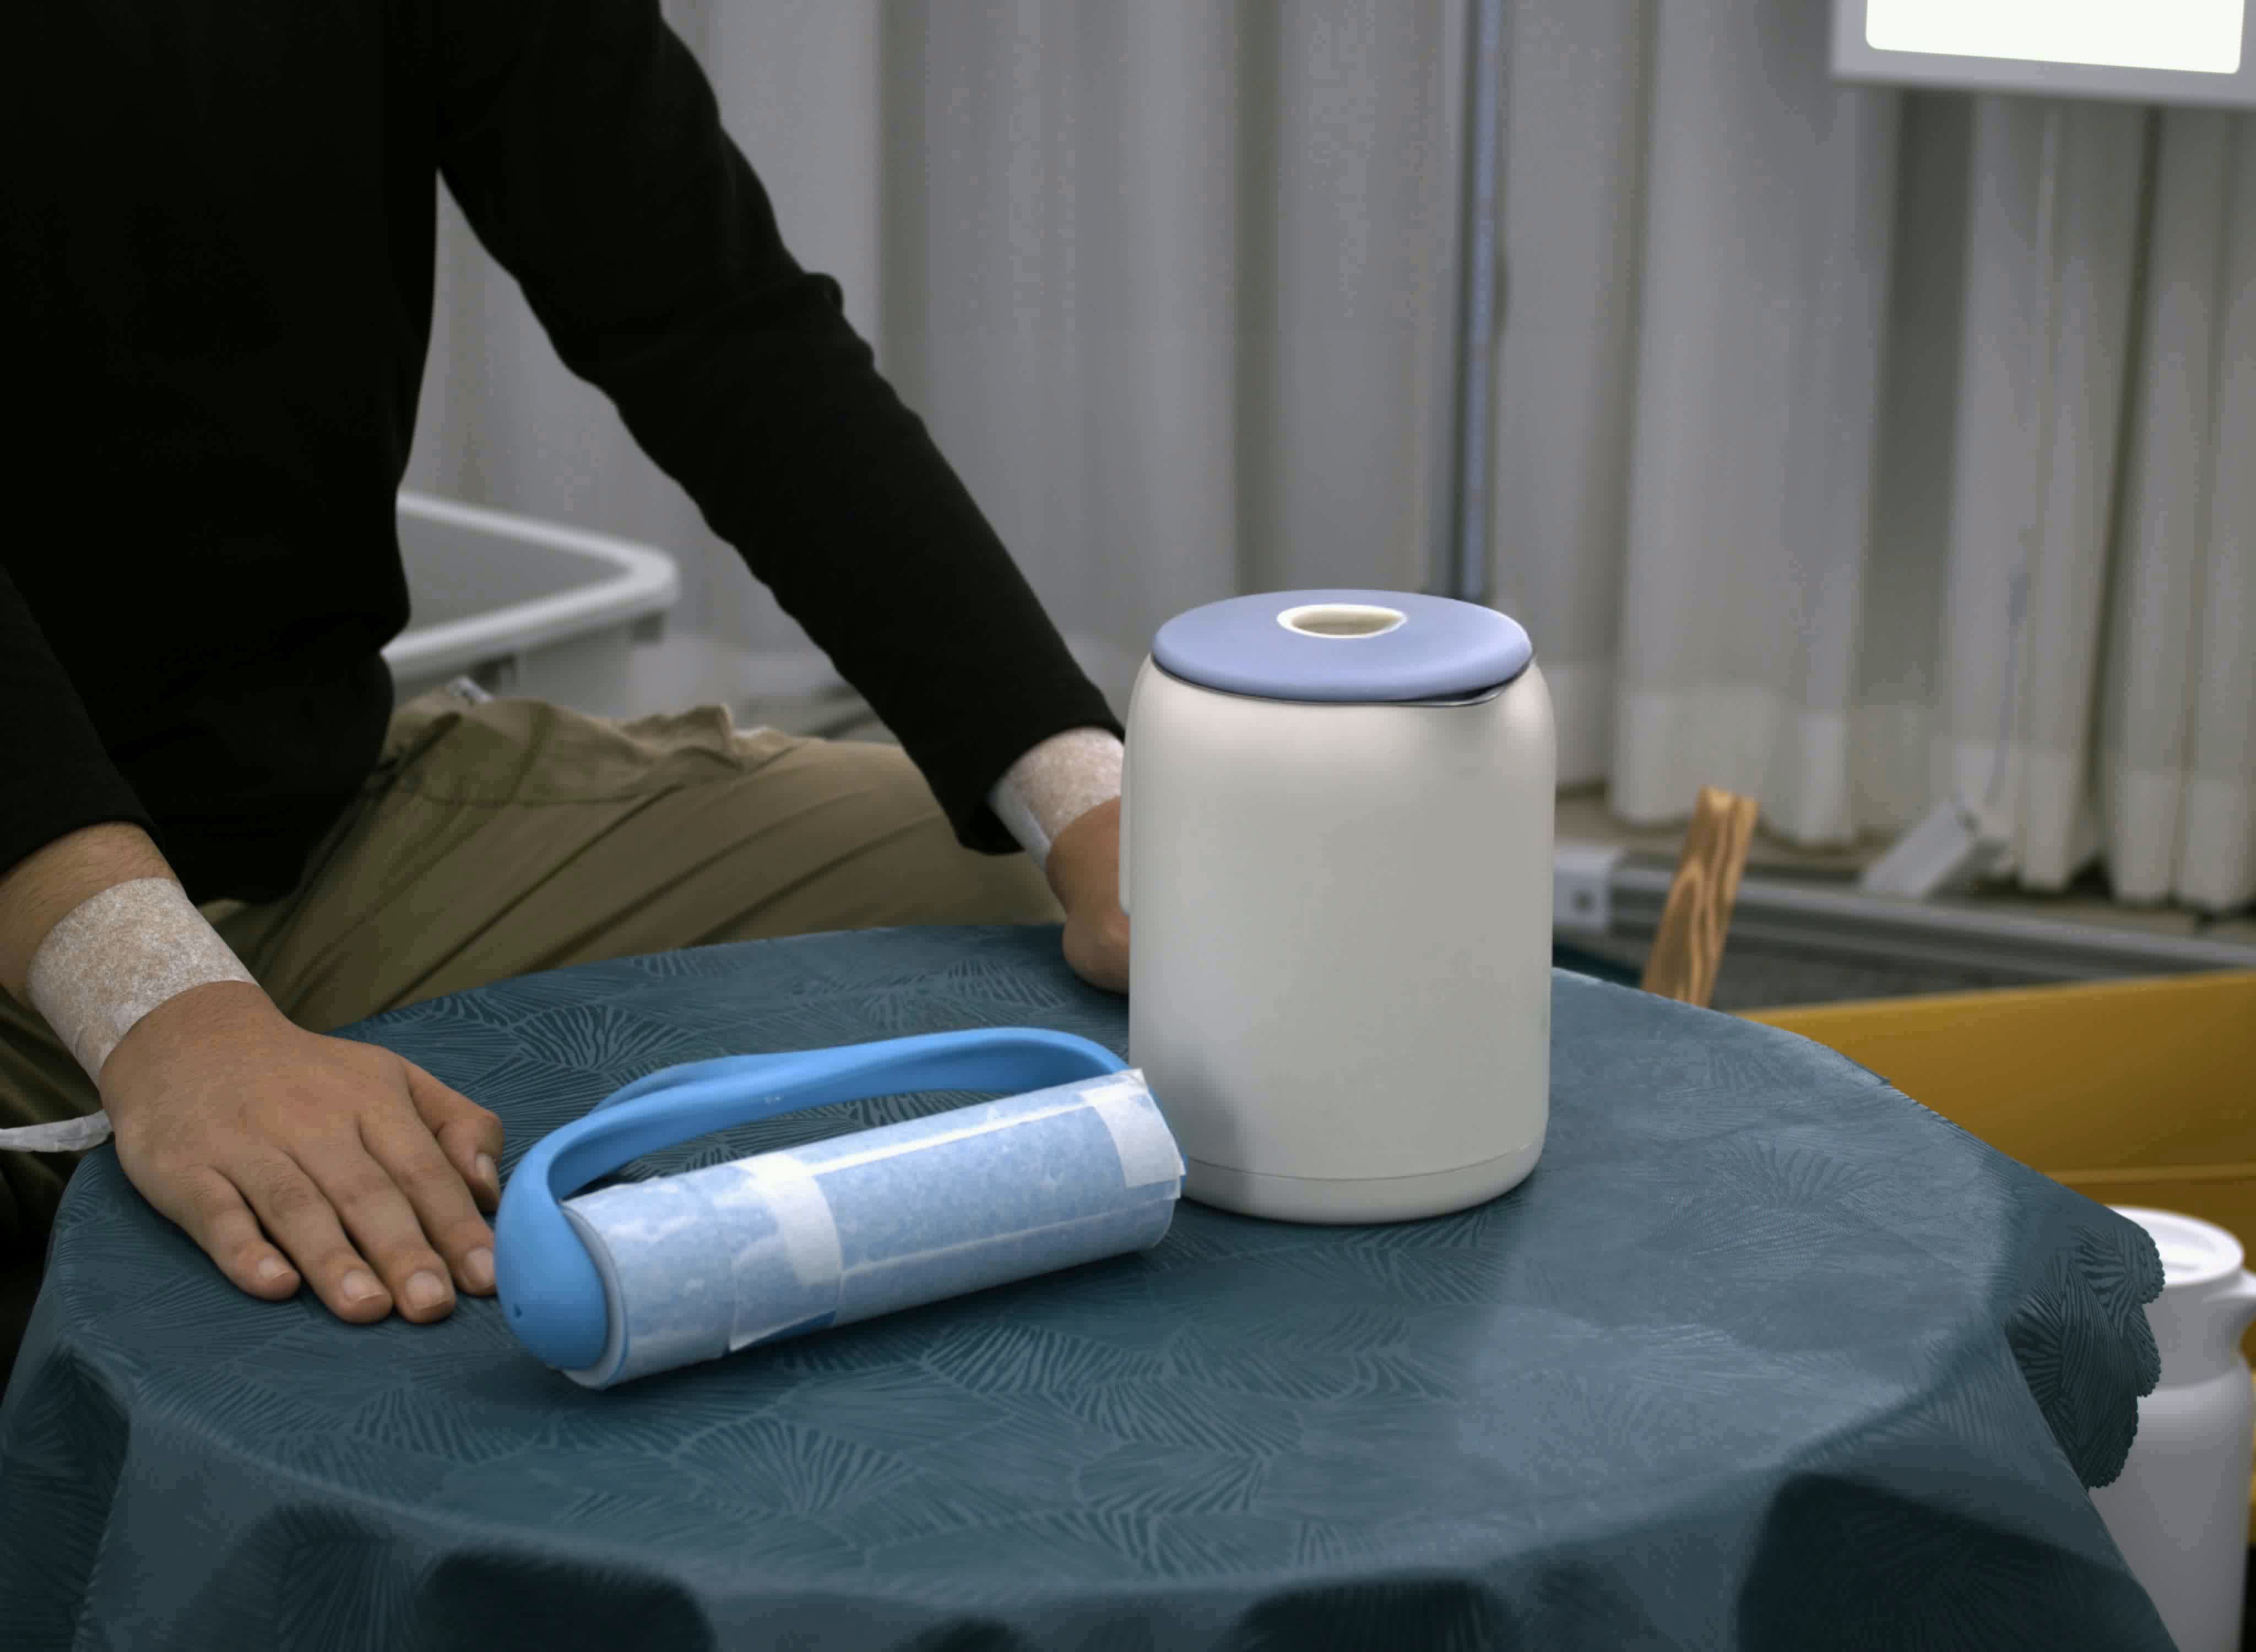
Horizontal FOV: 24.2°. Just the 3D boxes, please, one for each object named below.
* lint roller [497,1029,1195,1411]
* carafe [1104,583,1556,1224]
[{"bbox_3d":[-0.113,0.099,1.553,0.230,0.068,0.178,-16,27,-36],"label":"lint roller"},{"bbox_3d":[0.052,0.018,1.642,0.133,0.184,0.188,-10,17,-33],"label":"carafe"}]
